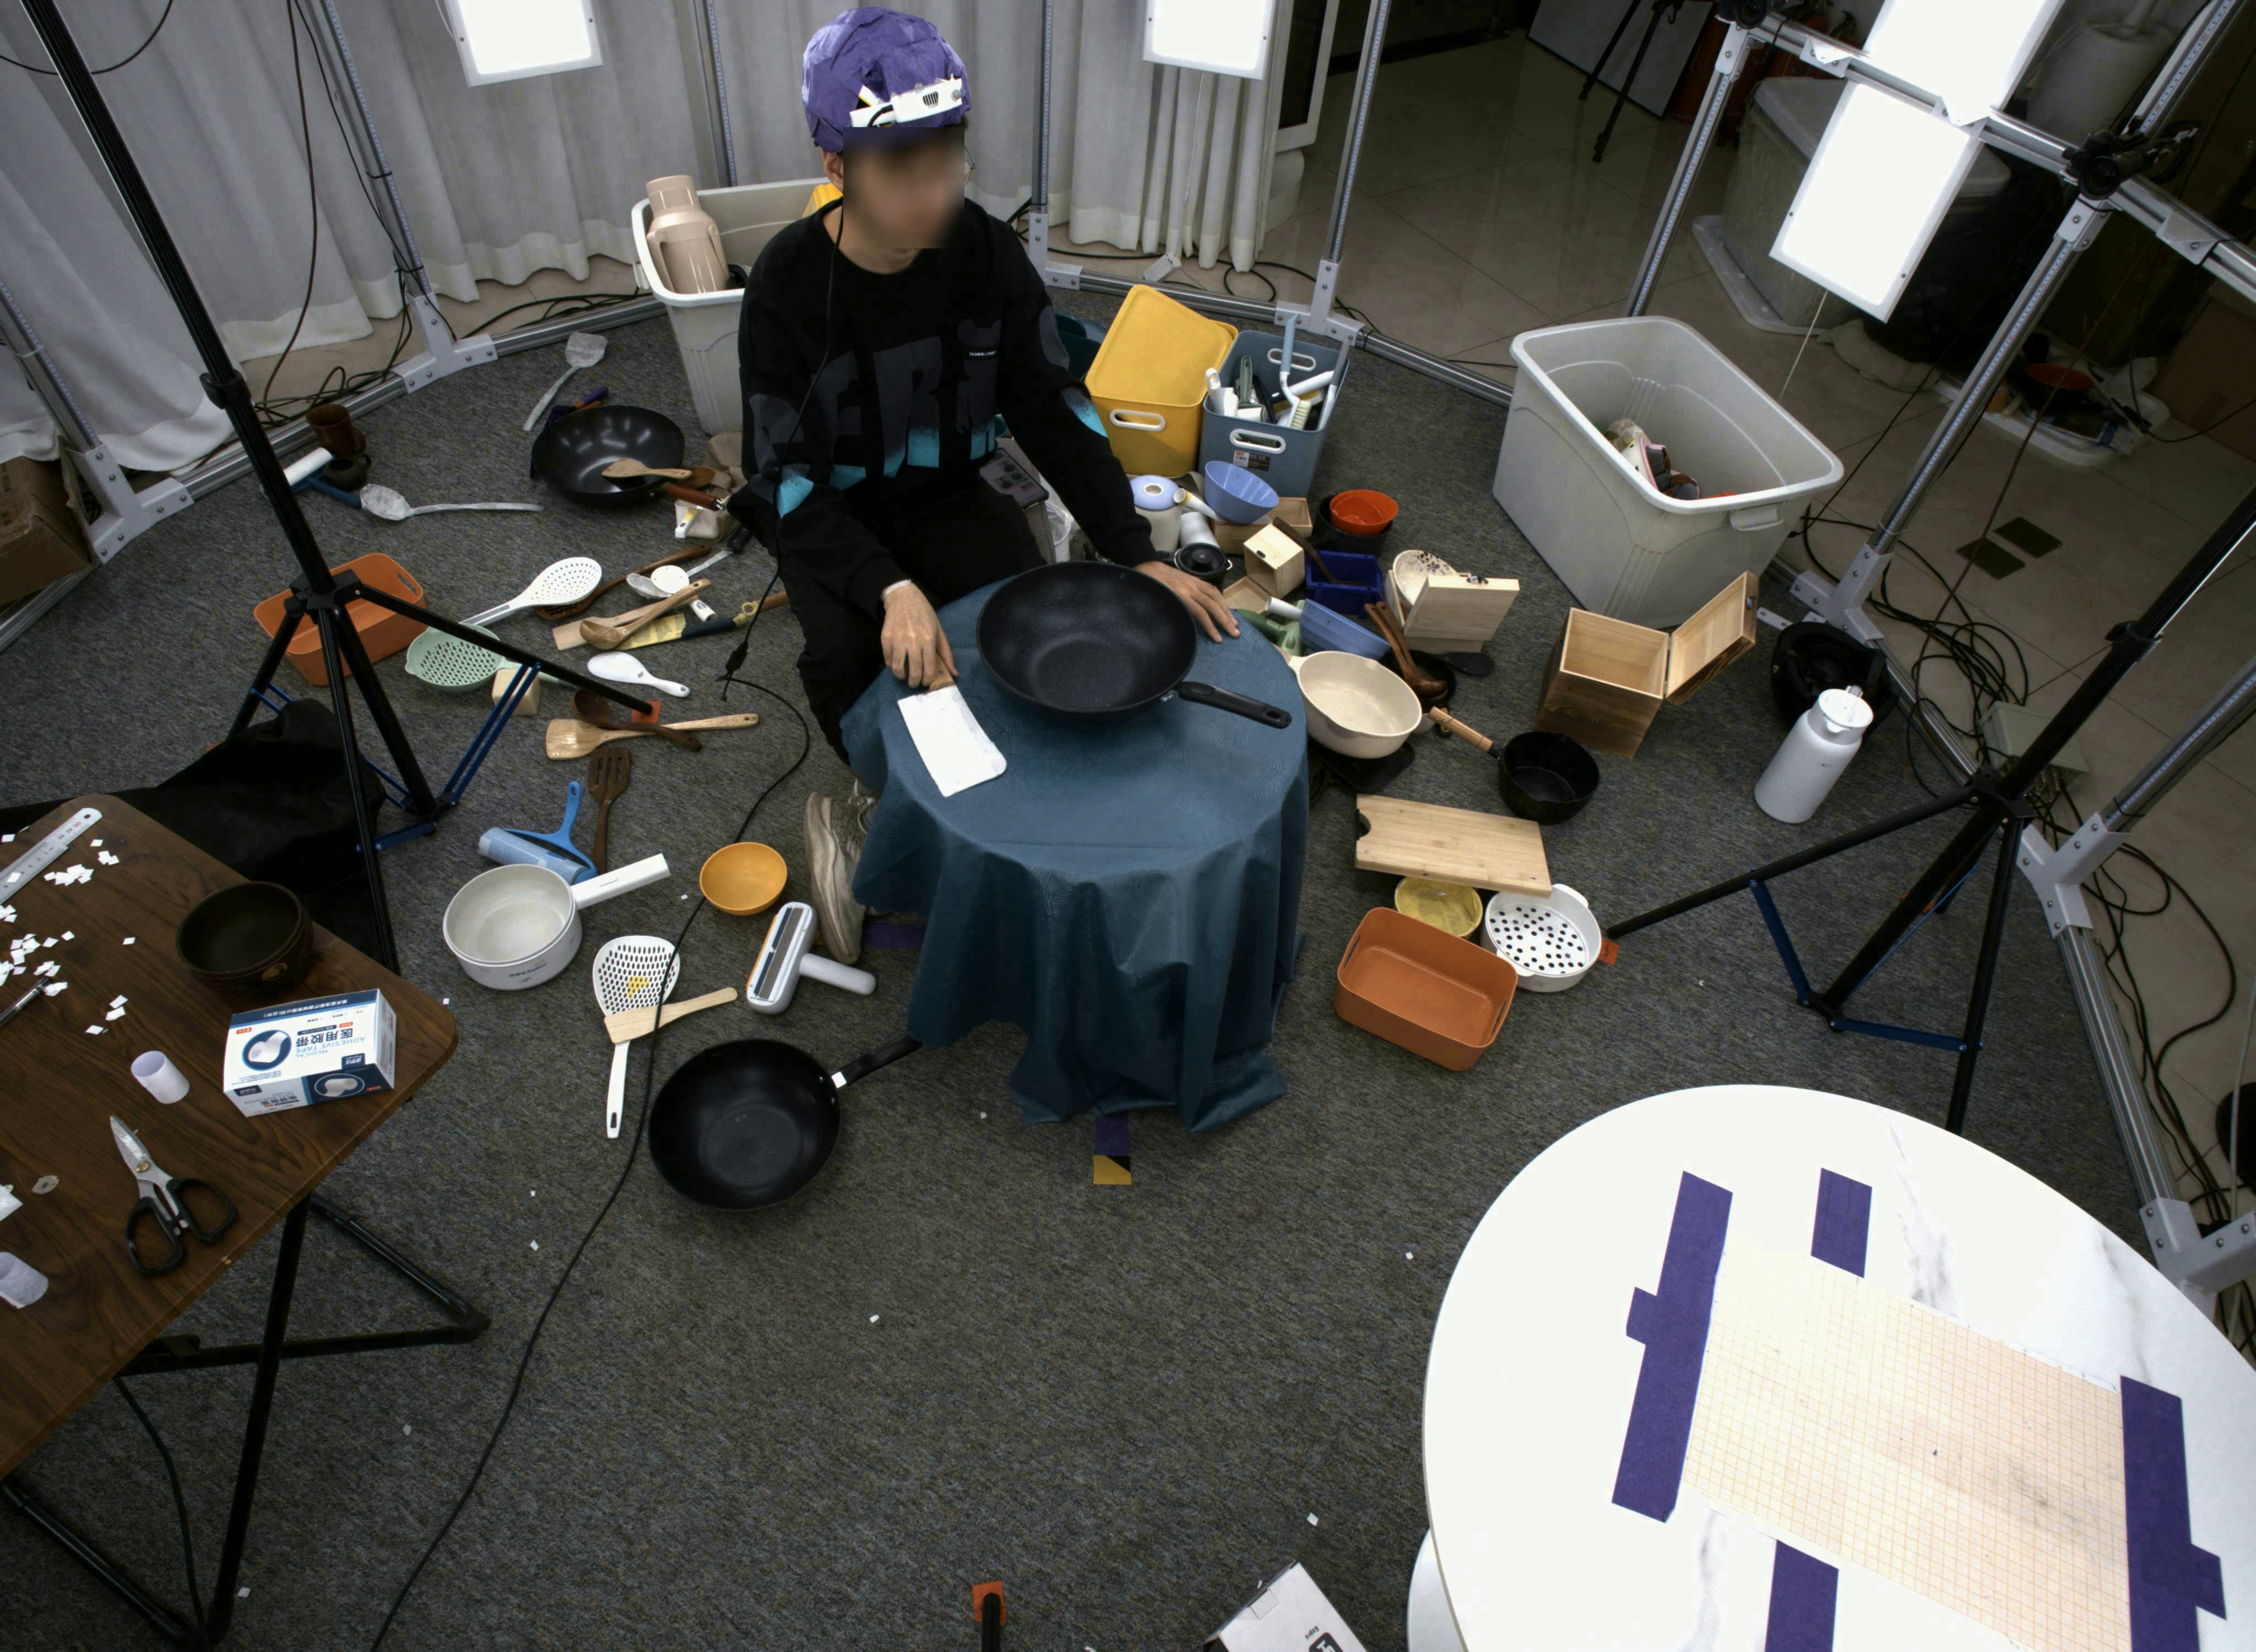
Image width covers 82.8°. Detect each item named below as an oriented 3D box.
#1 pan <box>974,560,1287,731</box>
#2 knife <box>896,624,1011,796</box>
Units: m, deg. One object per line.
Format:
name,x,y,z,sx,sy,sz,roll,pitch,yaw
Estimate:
pan,0.008,-0.213,1.786,0.482,0.109,0.314,29,55,20
knife,-0.257,-0.168,1.786,0.114,0.021,0.323,-18,54,-13
